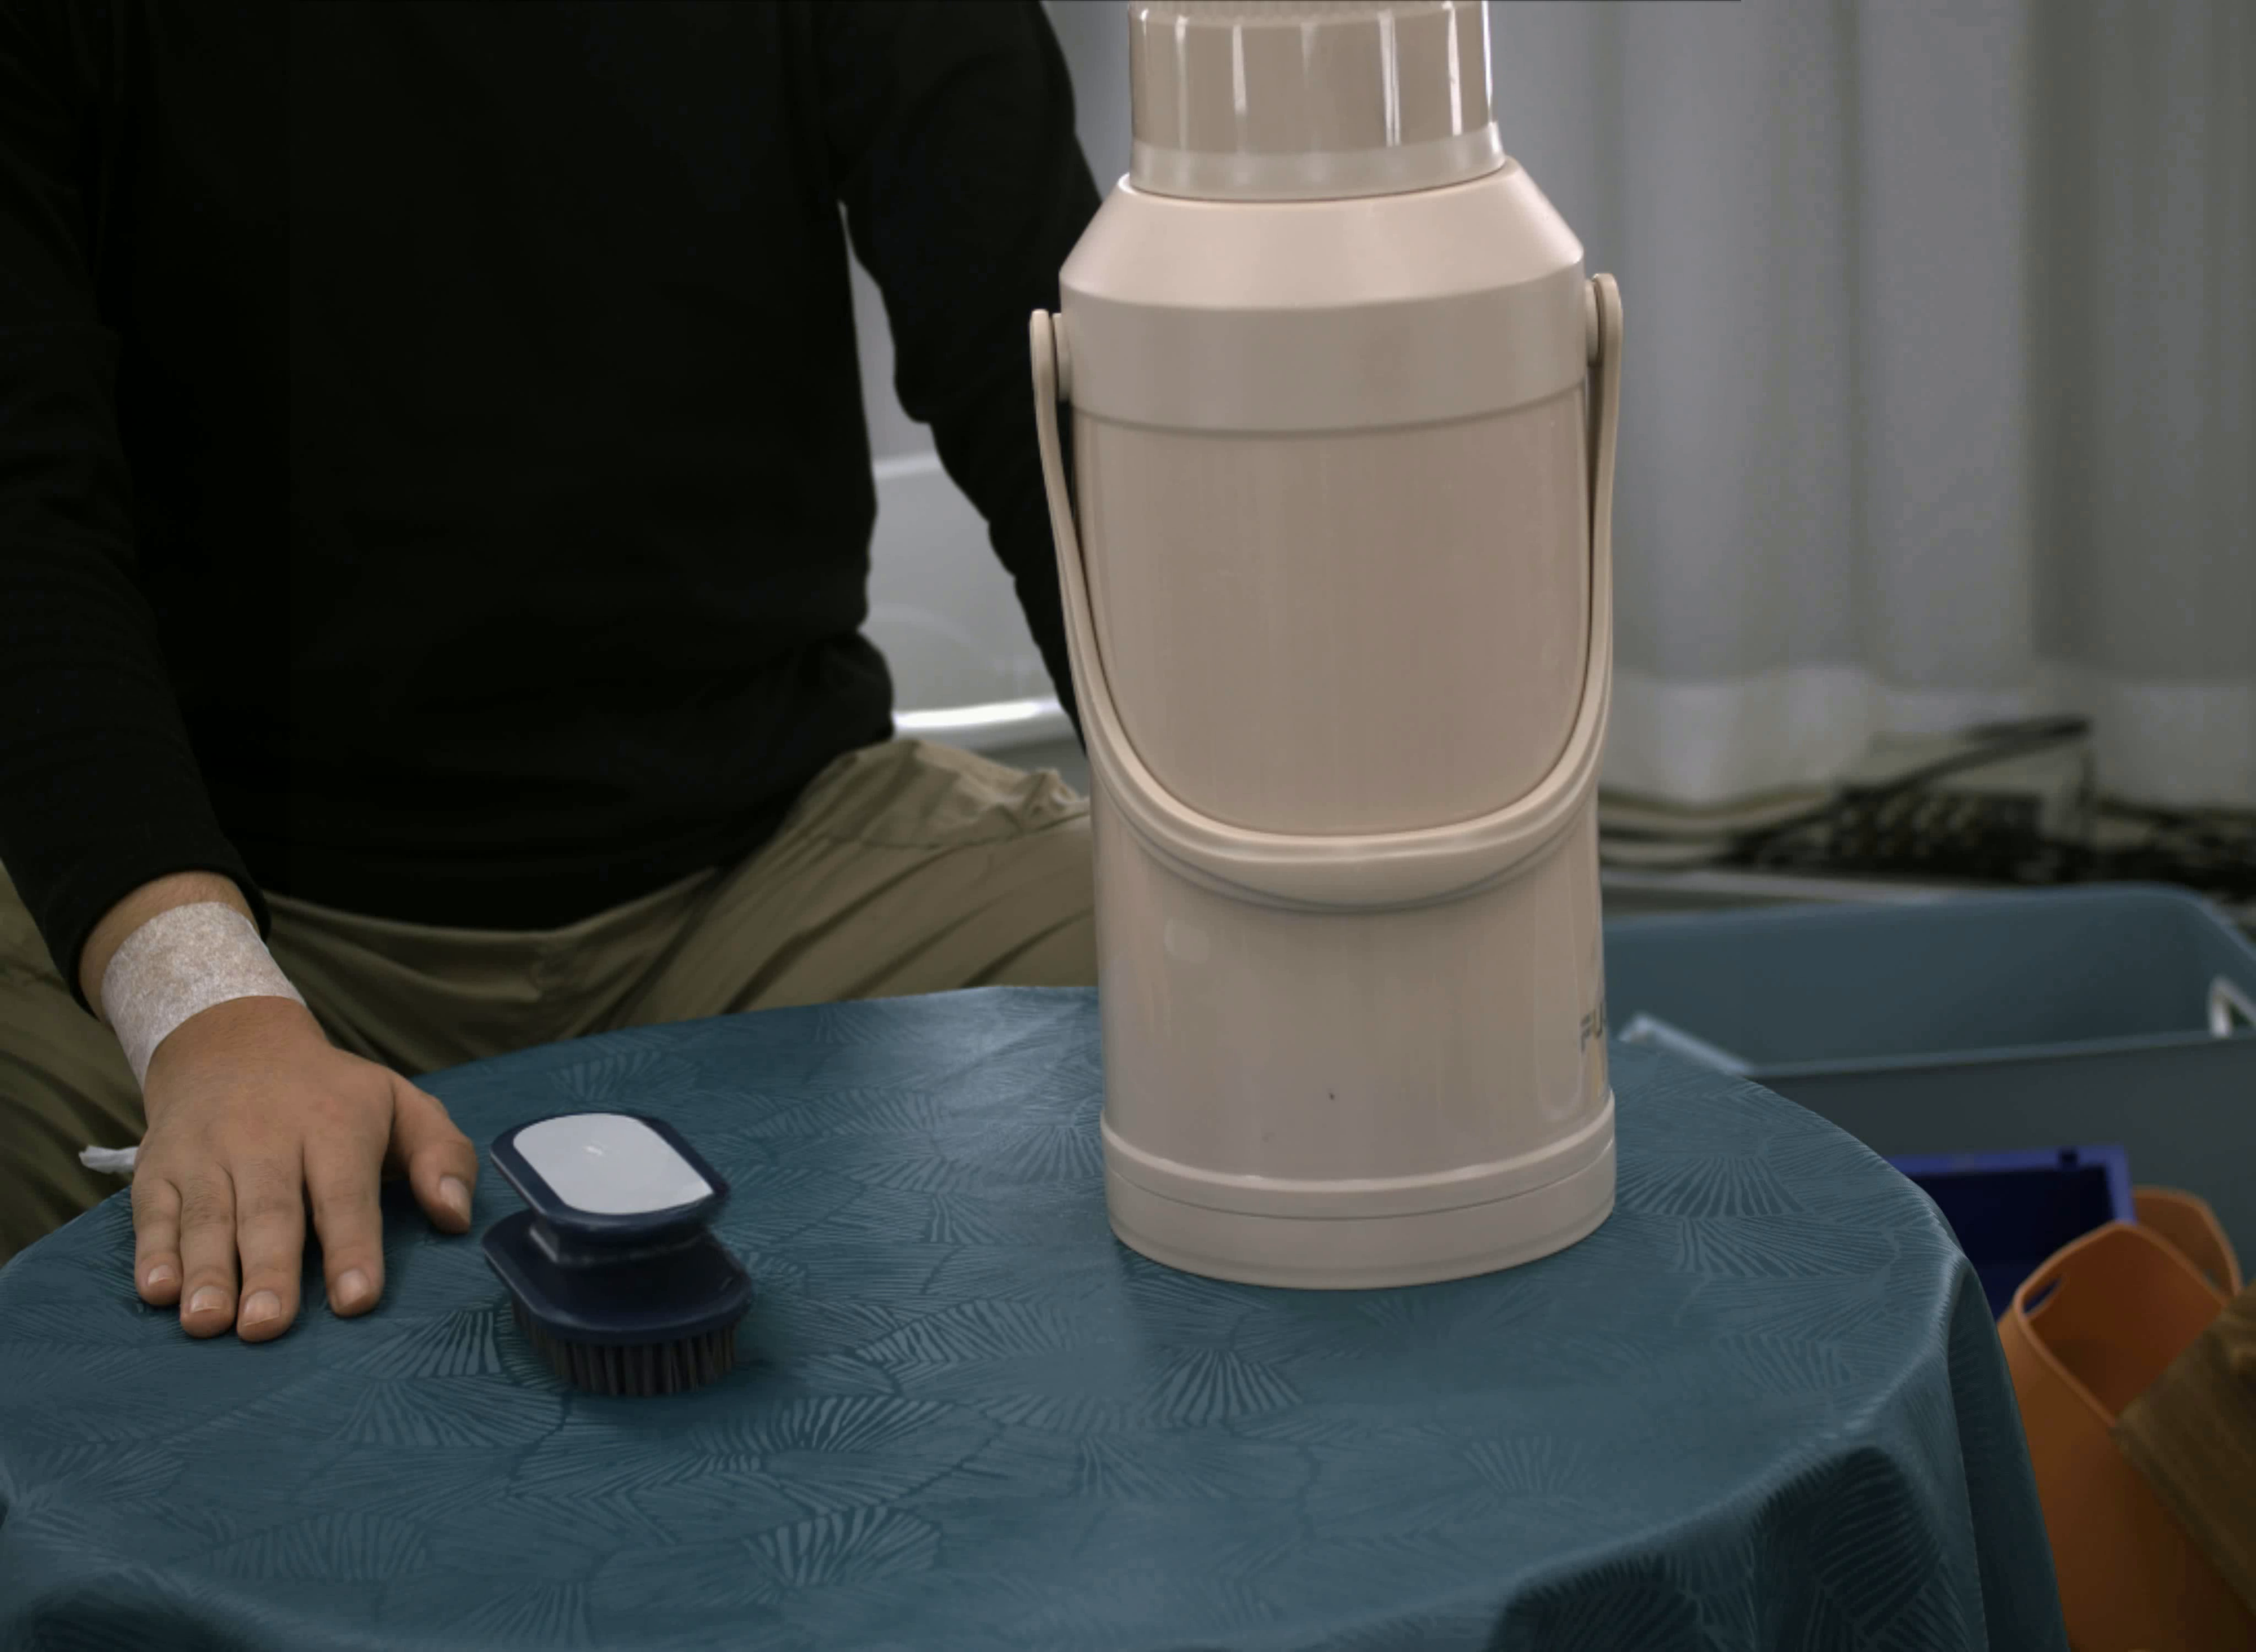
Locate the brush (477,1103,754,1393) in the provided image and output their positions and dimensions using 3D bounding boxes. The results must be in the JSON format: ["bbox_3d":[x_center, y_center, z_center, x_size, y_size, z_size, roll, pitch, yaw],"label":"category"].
[{"bbox_3d":[-0.150,0.125,1.600,0.067,0.061,0.122,-5,15,-18],"label":"brush"}]

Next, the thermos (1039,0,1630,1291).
[{"bbox_3d":[0.065,-0.078,1.659,0.174,0.405,0.208,-5,14,-4],"label":"thermos"}]
